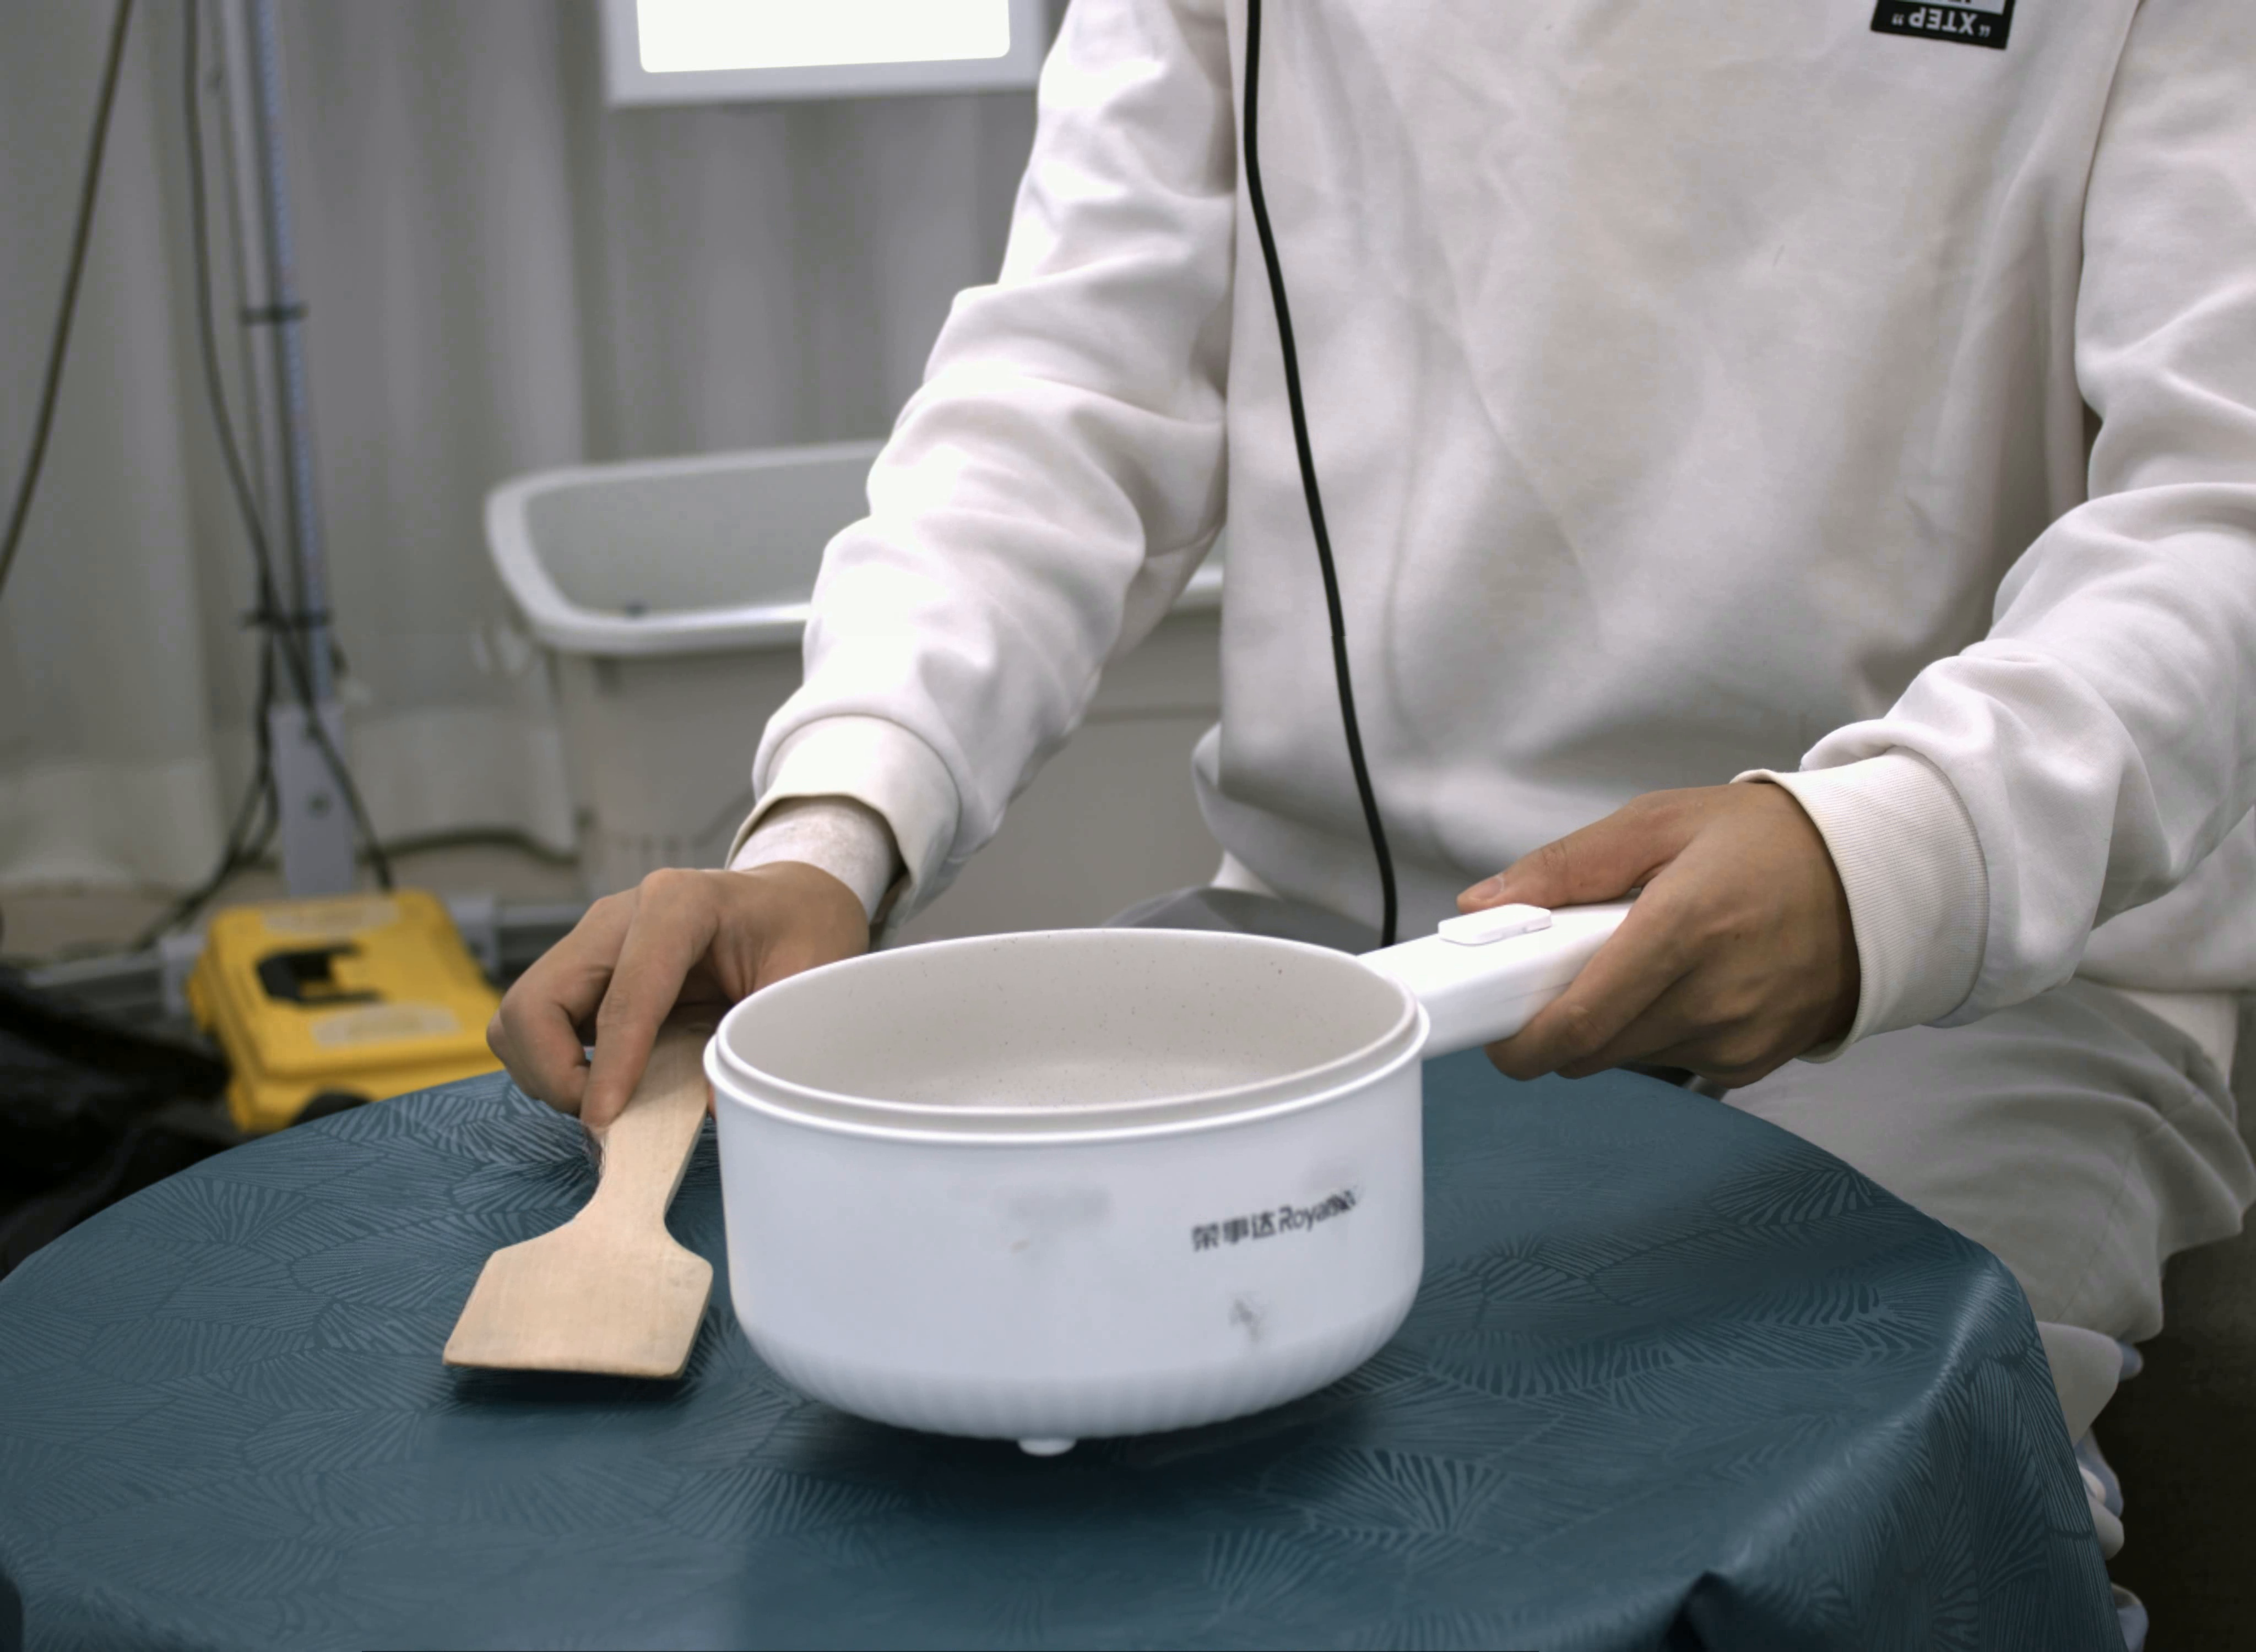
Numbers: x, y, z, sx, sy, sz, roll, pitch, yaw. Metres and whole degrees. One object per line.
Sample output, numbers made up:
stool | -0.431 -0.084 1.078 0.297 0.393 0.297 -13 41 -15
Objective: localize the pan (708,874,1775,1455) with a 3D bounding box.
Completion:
pan | 0.046 0.090 1.567 0.353 0.102 0.202 -11 14 -37

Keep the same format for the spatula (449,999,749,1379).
spatula | -0.151 0.109 1.695 0.072 0.010 0.295 2 19 3
